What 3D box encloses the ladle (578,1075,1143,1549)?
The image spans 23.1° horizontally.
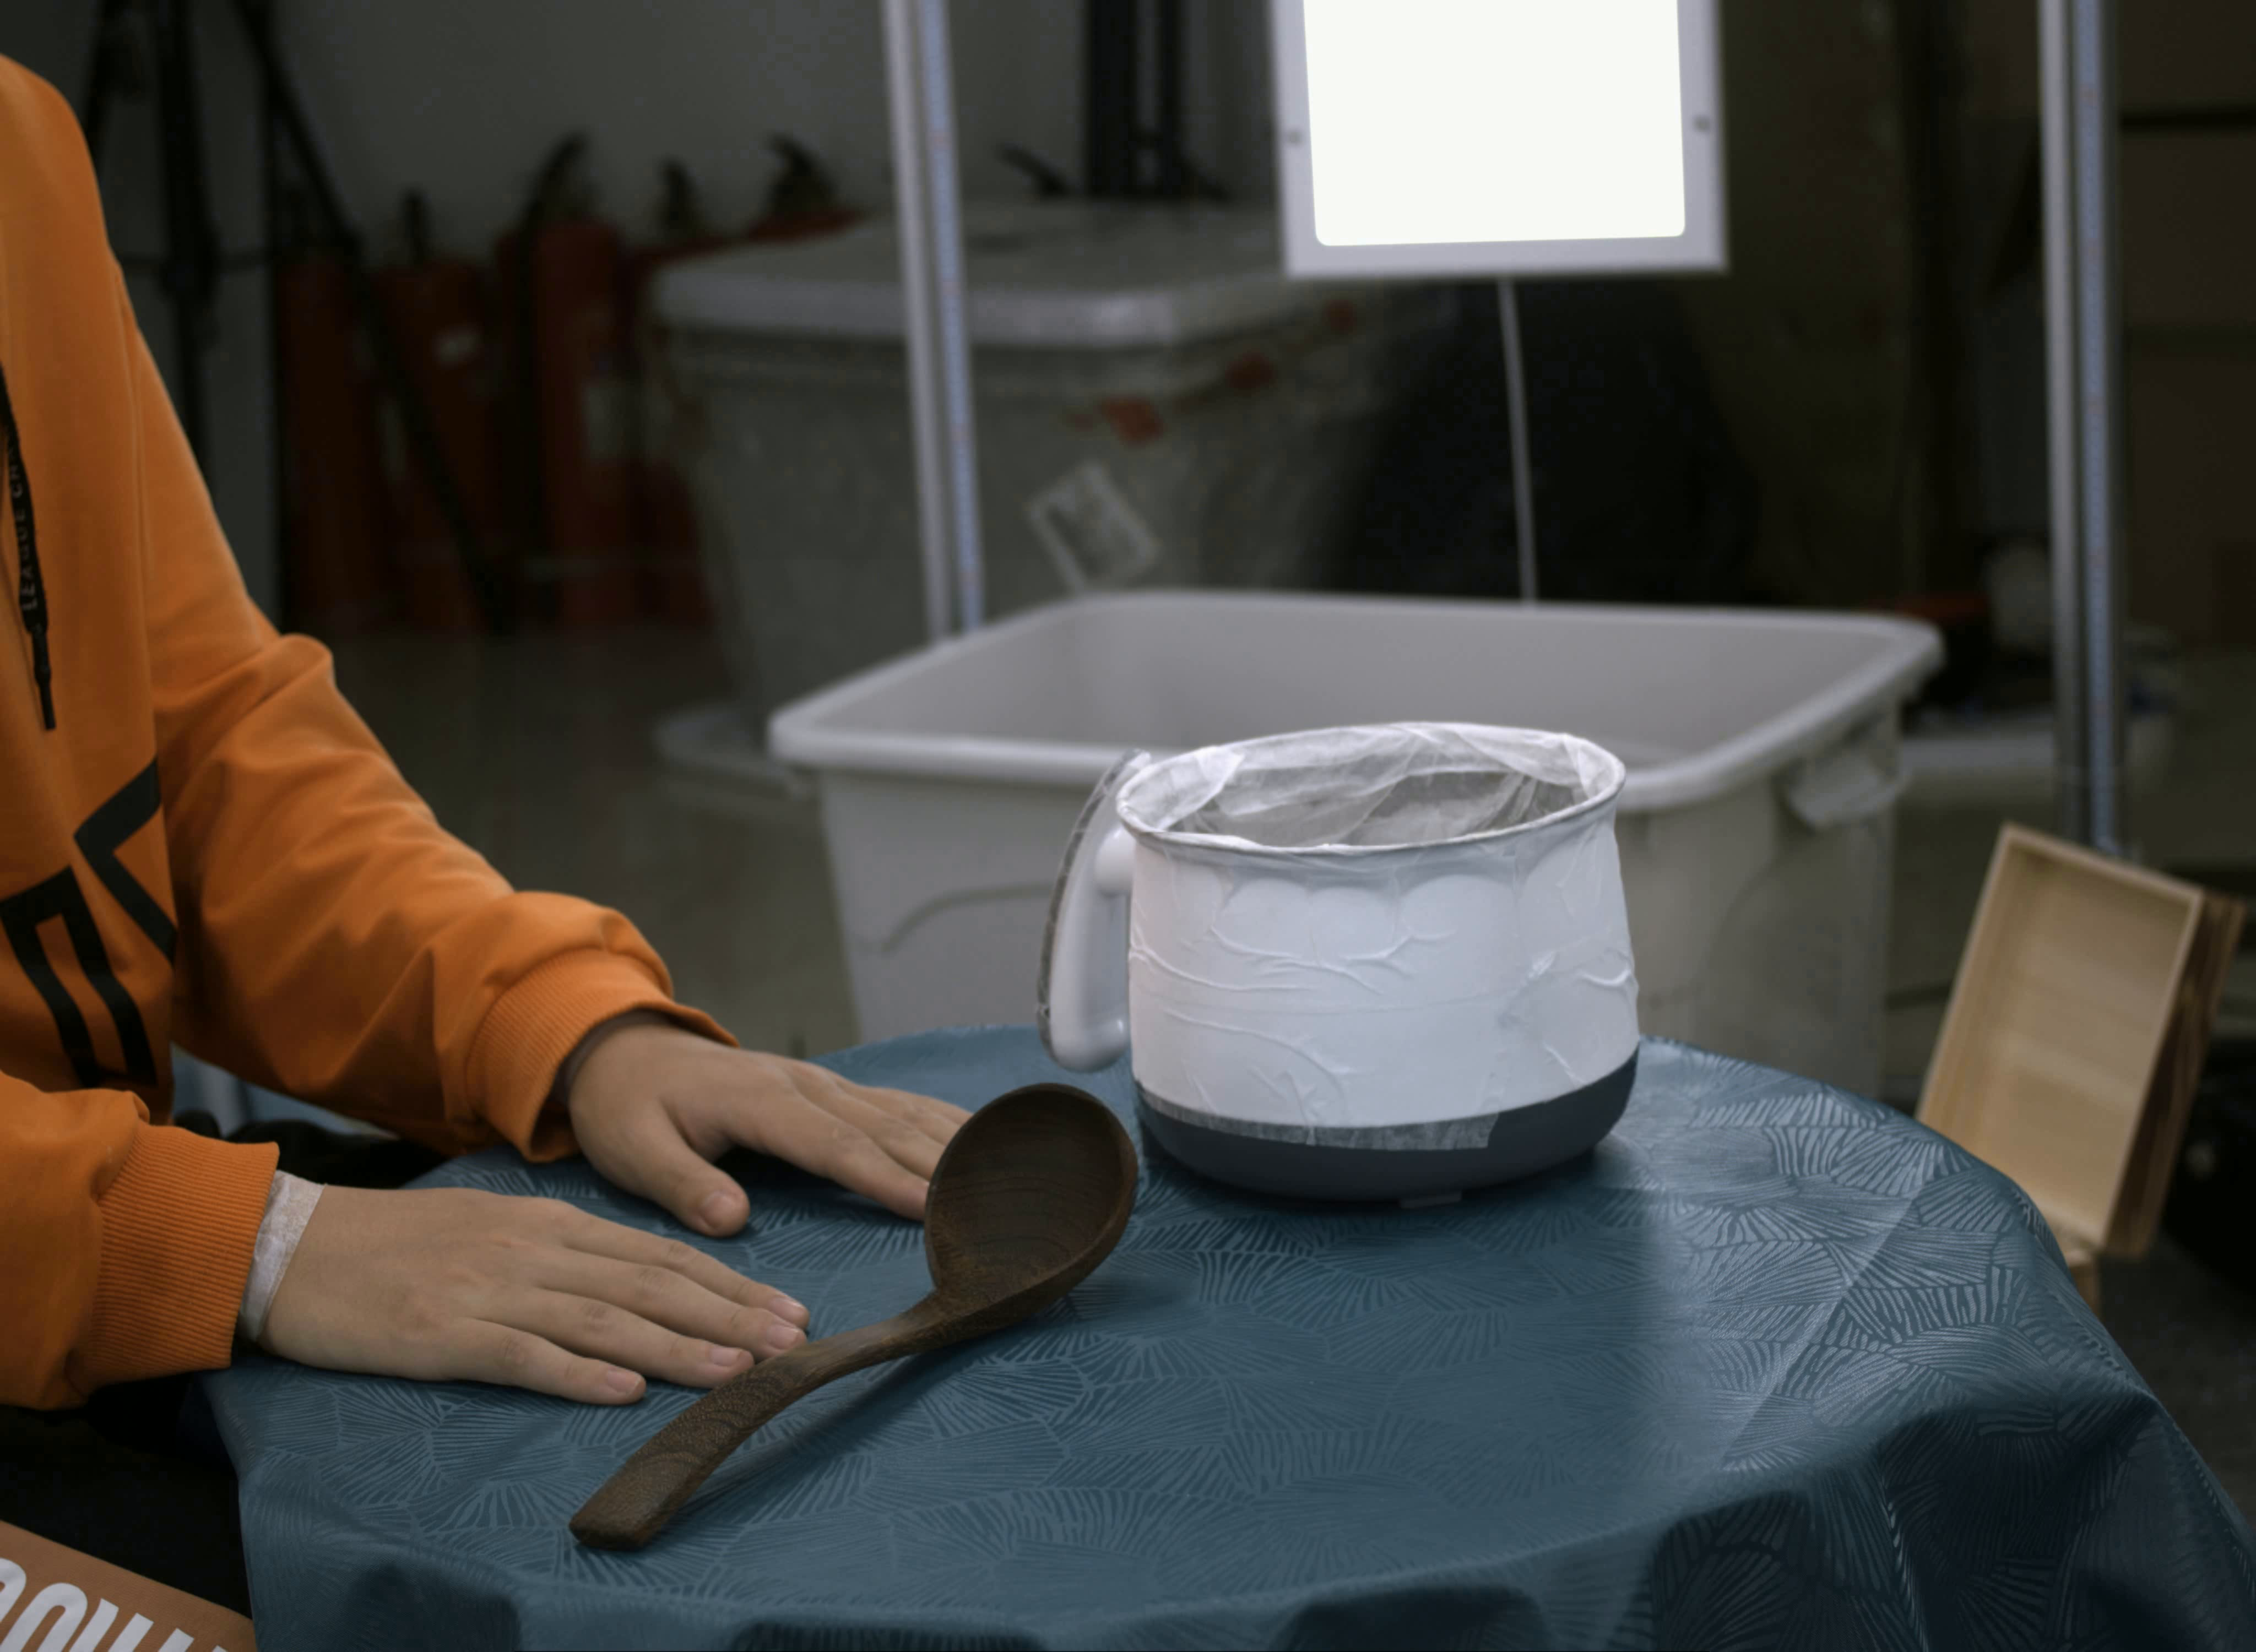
[{"bbox_3d":[-0.085,0.145,1.707,0.077,0.071,0.267,2,15,33],"label":"ladle"}]

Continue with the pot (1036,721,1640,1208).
[{"bbox_3d":[0.065,0.044,1.919,0.238,0.137,0.174,6,17,36],"label":"pot"}]
